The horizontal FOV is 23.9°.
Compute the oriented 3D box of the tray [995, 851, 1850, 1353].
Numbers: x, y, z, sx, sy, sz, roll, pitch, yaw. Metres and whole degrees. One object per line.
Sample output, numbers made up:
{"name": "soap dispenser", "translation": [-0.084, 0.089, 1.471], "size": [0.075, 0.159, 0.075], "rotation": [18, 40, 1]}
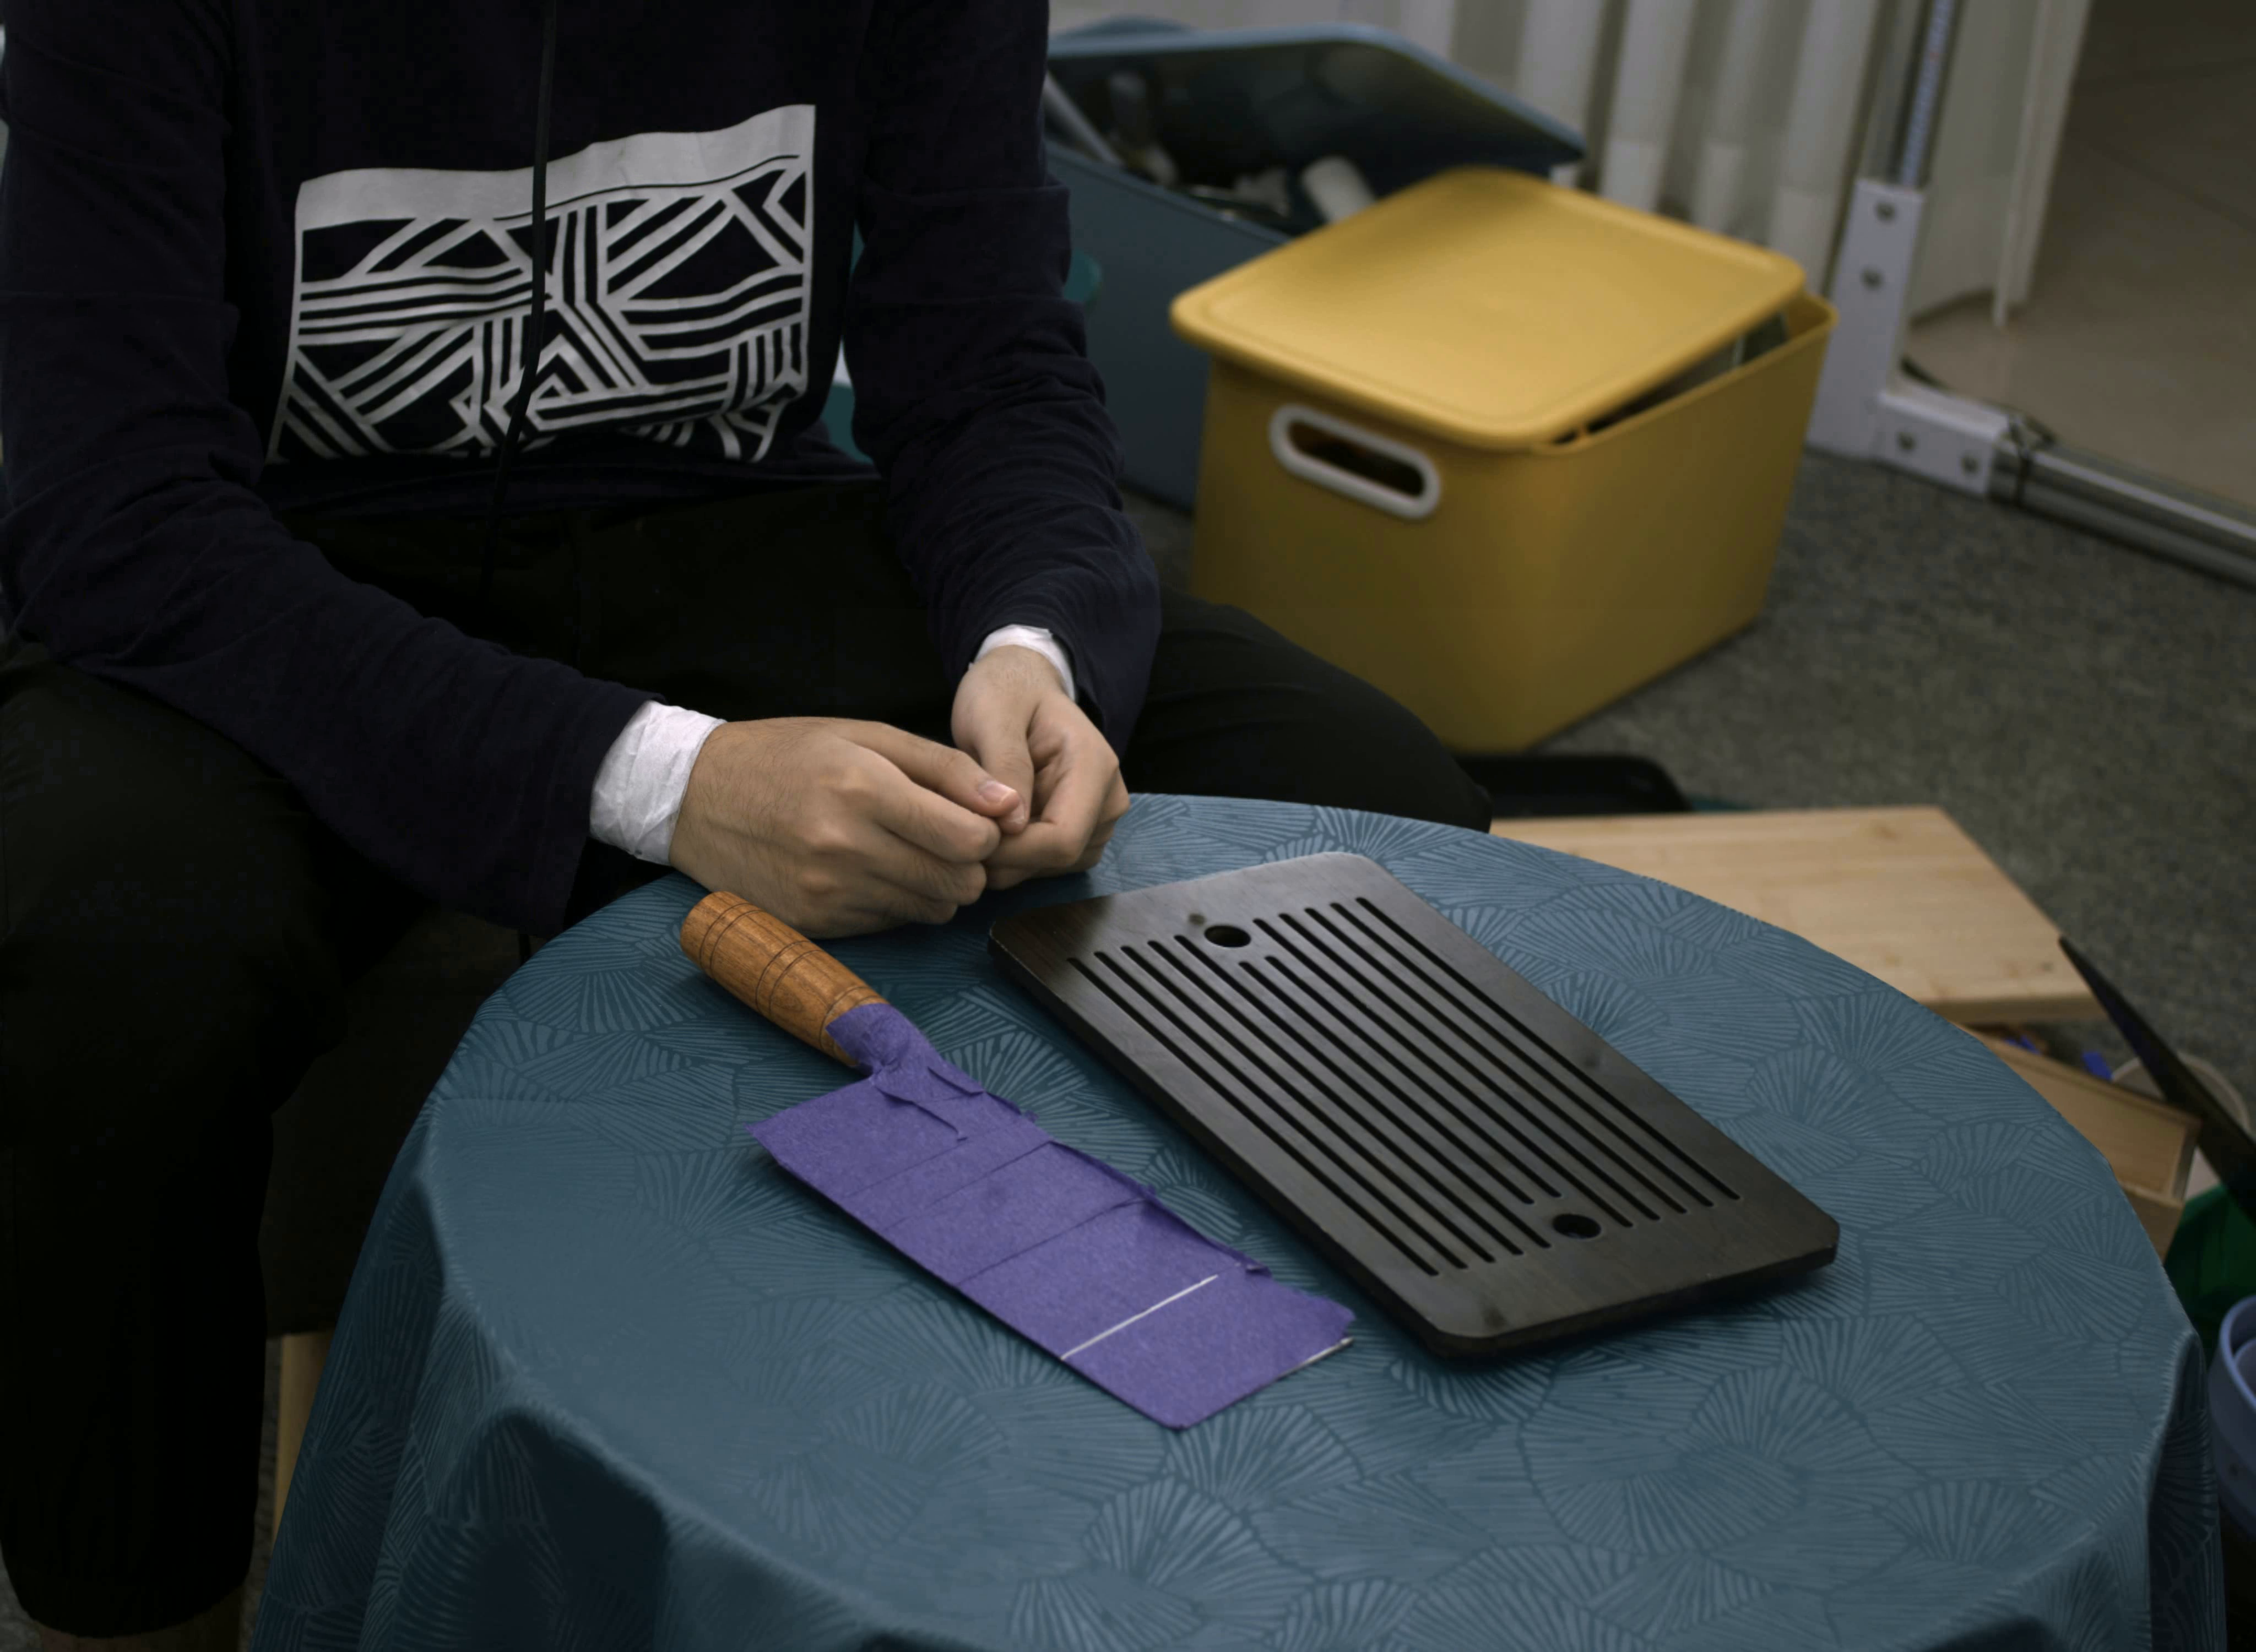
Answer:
{"name": "tray", "translation": [0.098, 0.093, 1.868], "size": [0.169, 0.018, 0.308], "rotation": [-11, 31, -31]}

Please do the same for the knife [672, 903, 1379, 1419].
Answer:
{"name": "knife", "translation": [-0.062, 0.109, 1.791], "size": [0.317, 0.032, 0.103], "rotation": [29, 34, 36]}
